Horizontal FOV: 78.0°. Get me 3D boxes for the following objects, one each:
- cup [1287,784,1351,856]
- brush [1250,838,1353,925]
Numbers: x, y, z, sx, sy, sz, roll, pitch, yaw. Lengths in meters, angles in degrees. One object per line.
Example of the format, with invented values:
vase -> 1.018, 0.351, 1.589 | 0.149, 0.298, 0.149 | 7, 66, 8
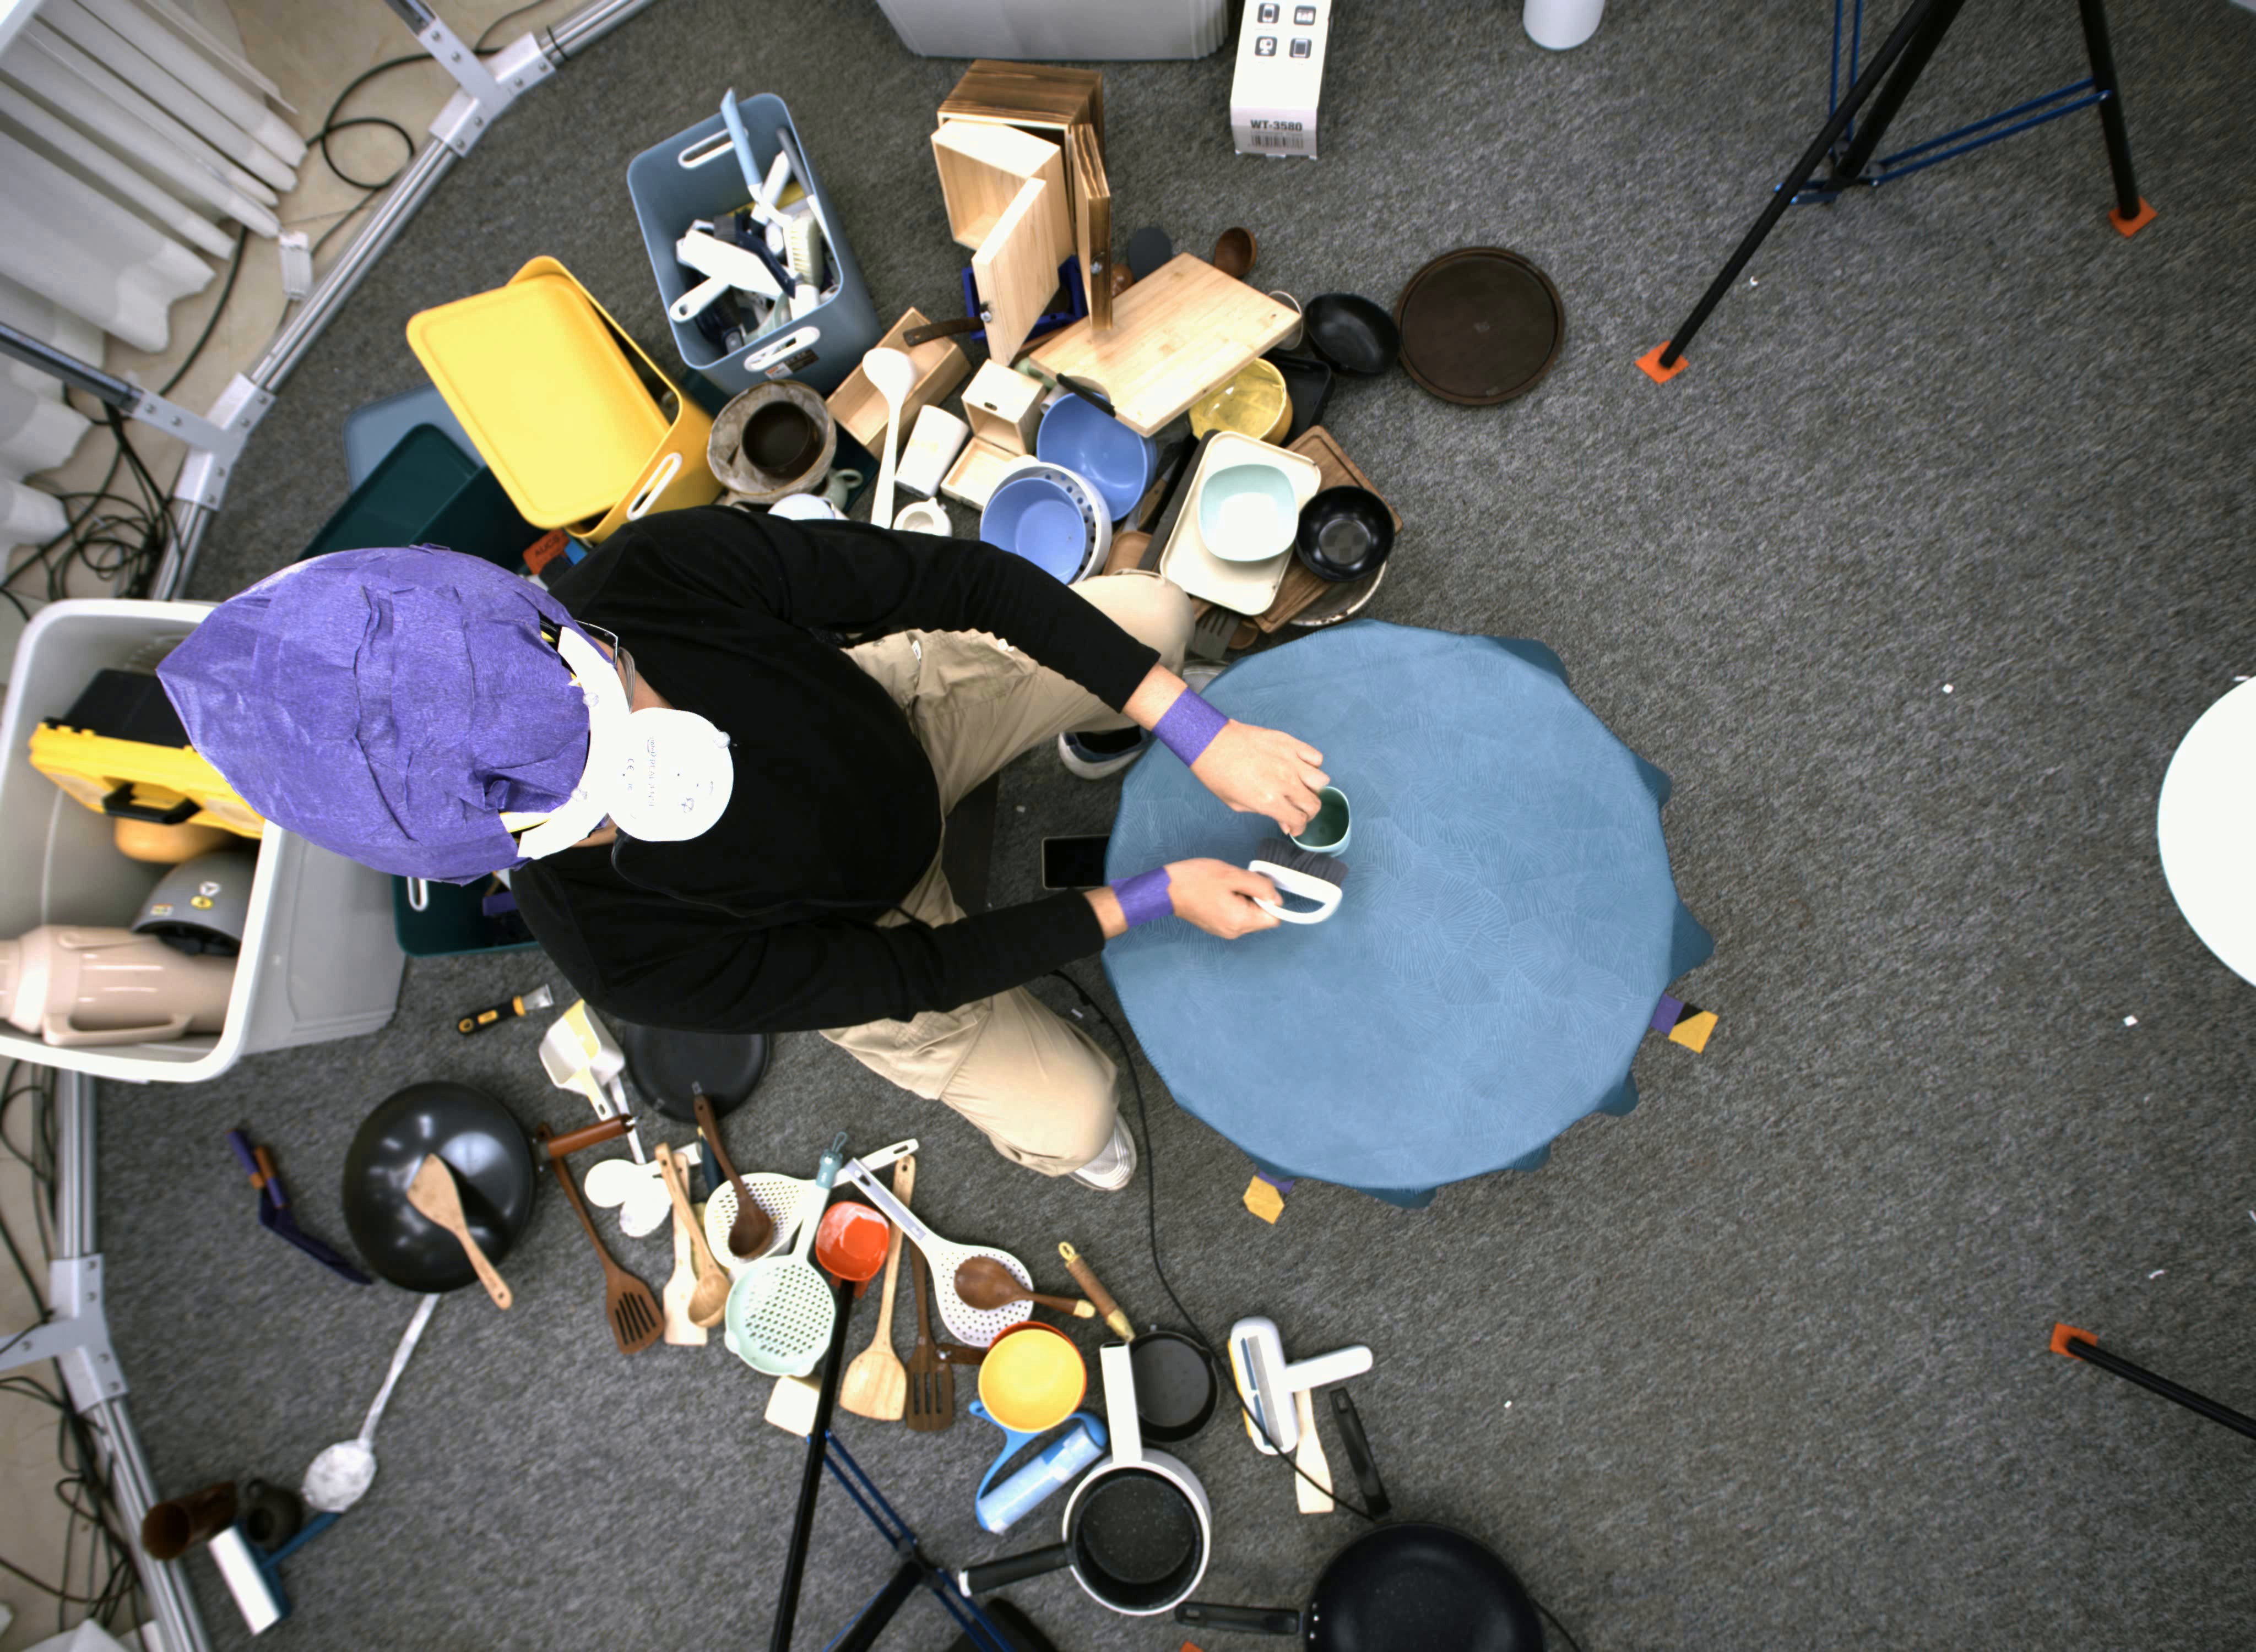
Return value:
cup -> 0.197, -0.004, 1.414 | 0.067, 0.132, 0.066 | -1, 85, 9
brush -> 0.171, 0.061, 1.409 | 0.099, 0.051, 0.071 | 19, 77, 8
